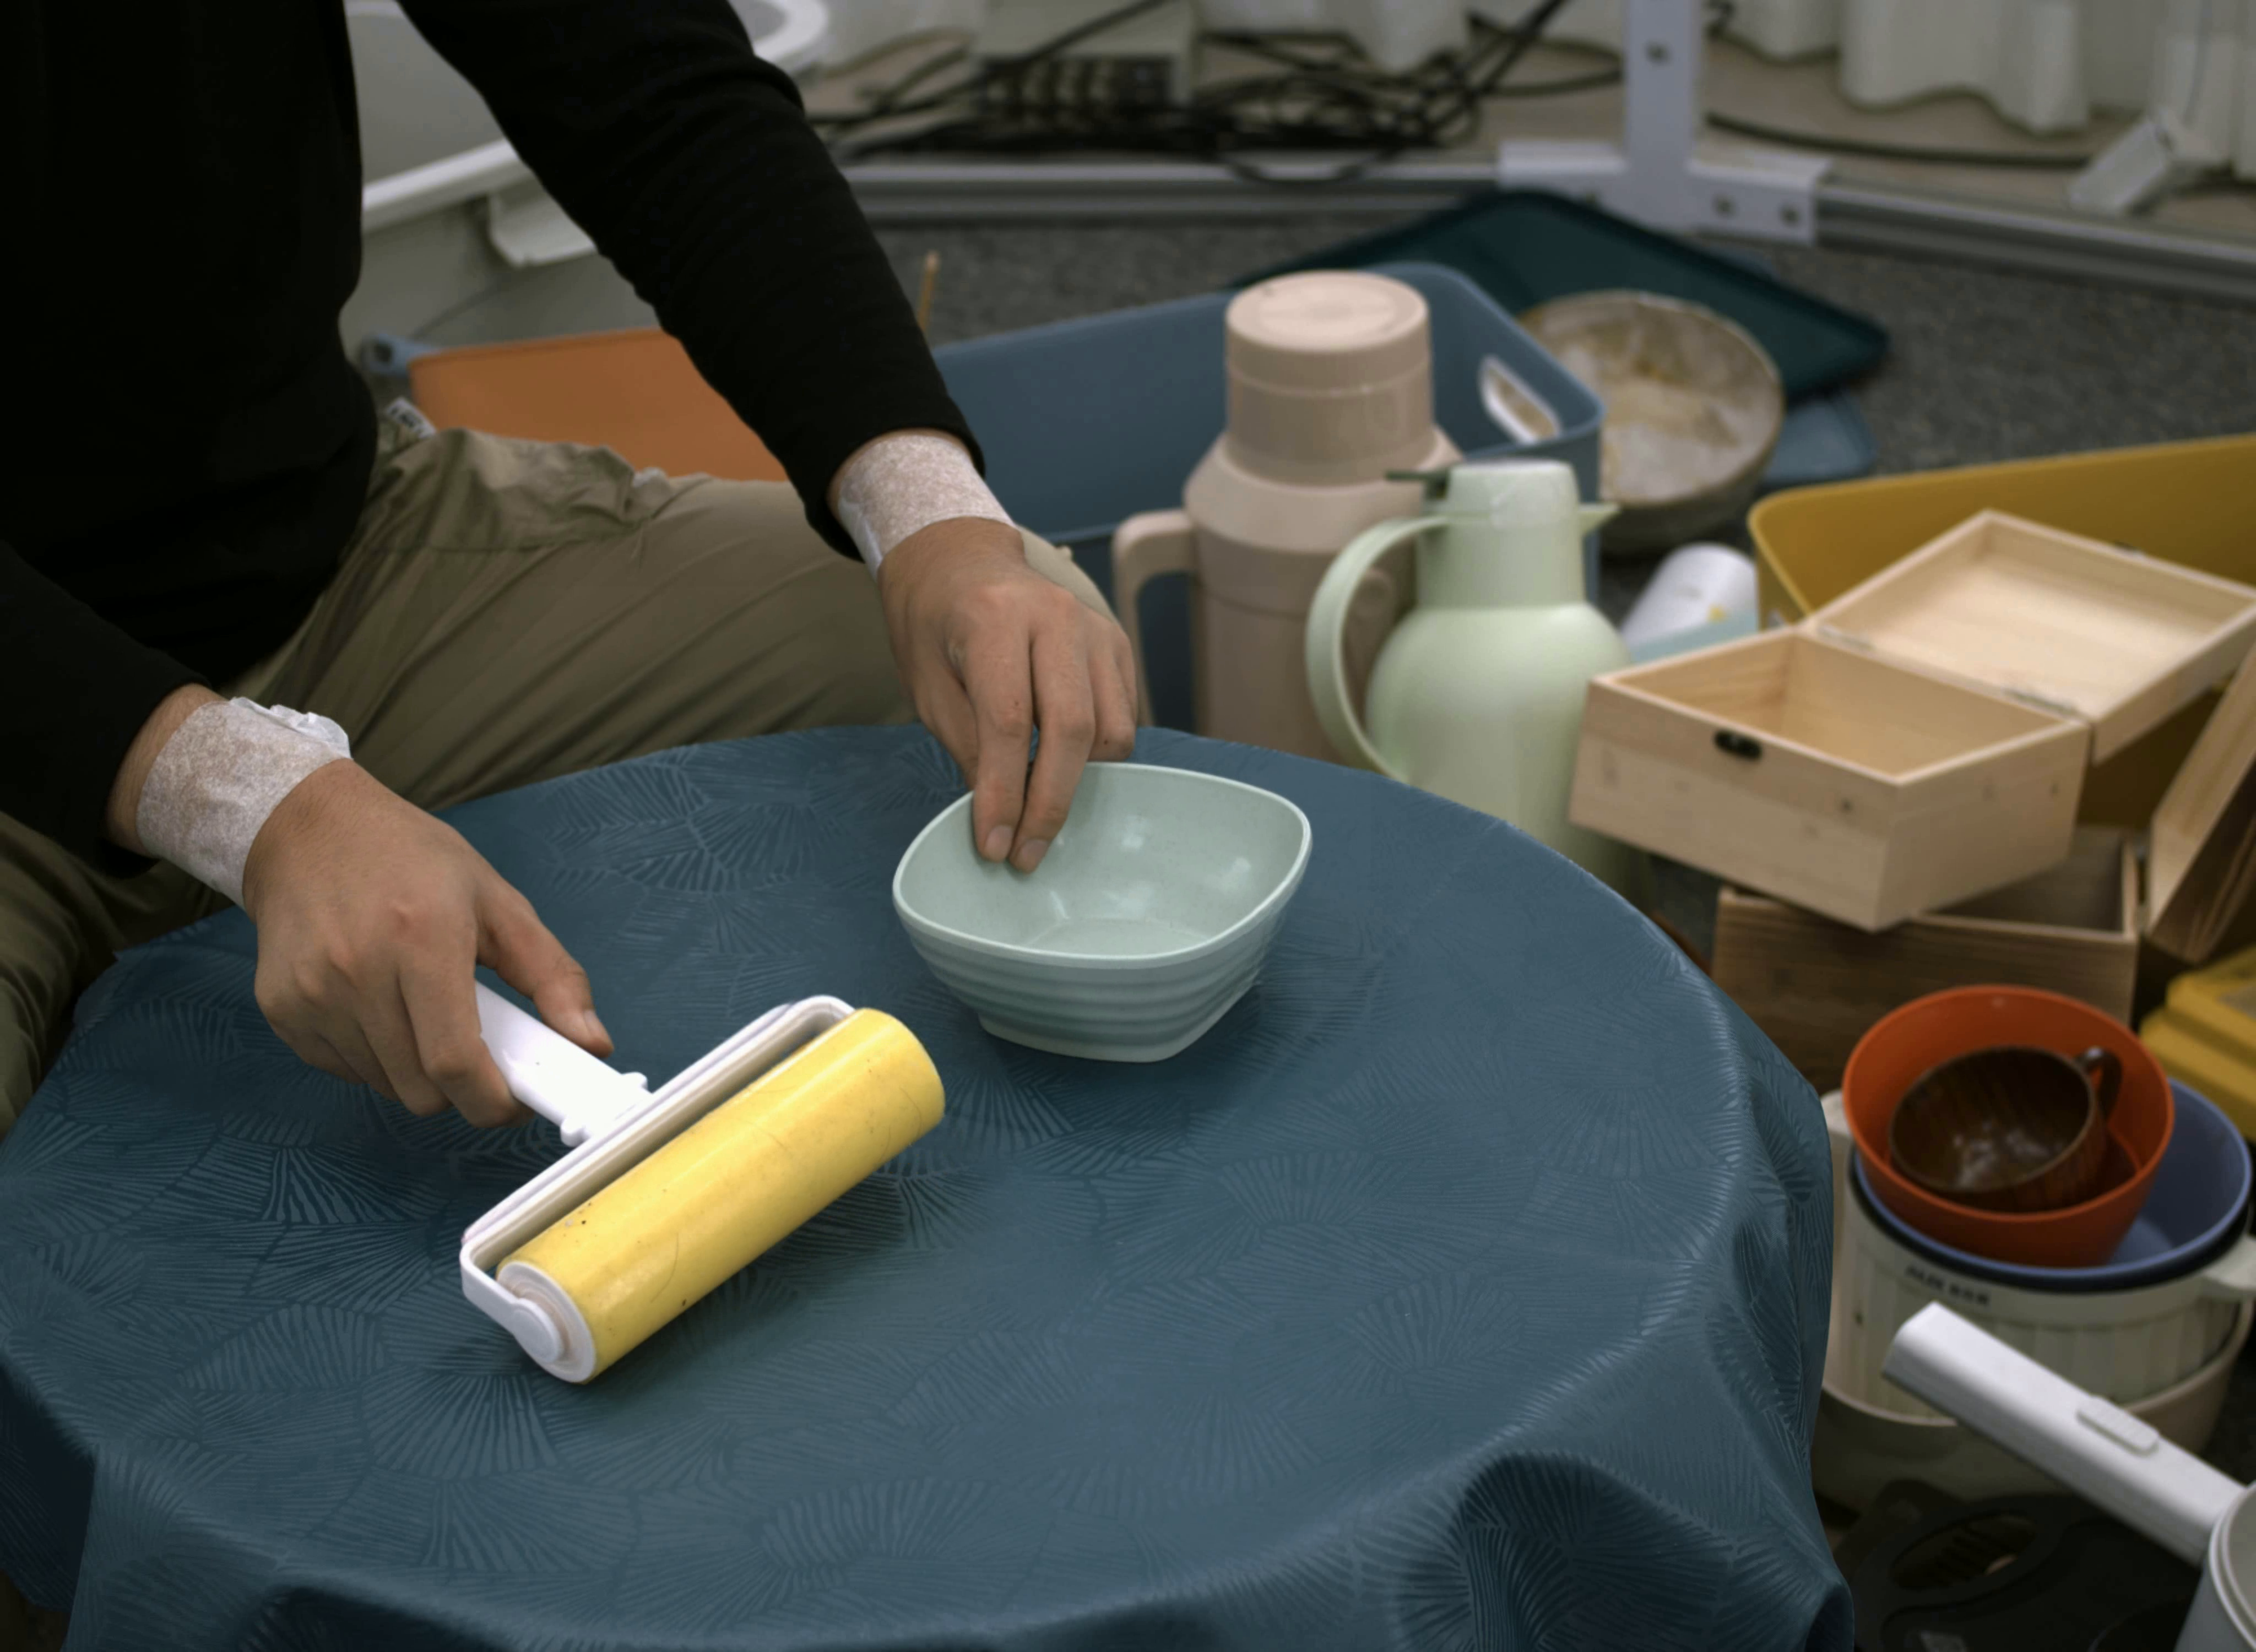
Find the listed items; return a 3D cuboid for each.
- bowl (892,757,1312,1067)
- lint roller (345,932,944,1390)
[{"bbox_3d":[-0.008,0.036,1.966,0.151,0.058,0.154,-1,29,1],"label":"bowl"},{"bbox_3d":[-0.184,0.082,1.839,0.192,0.050,0.177,37,49,21],"label":"lint roller"}]
